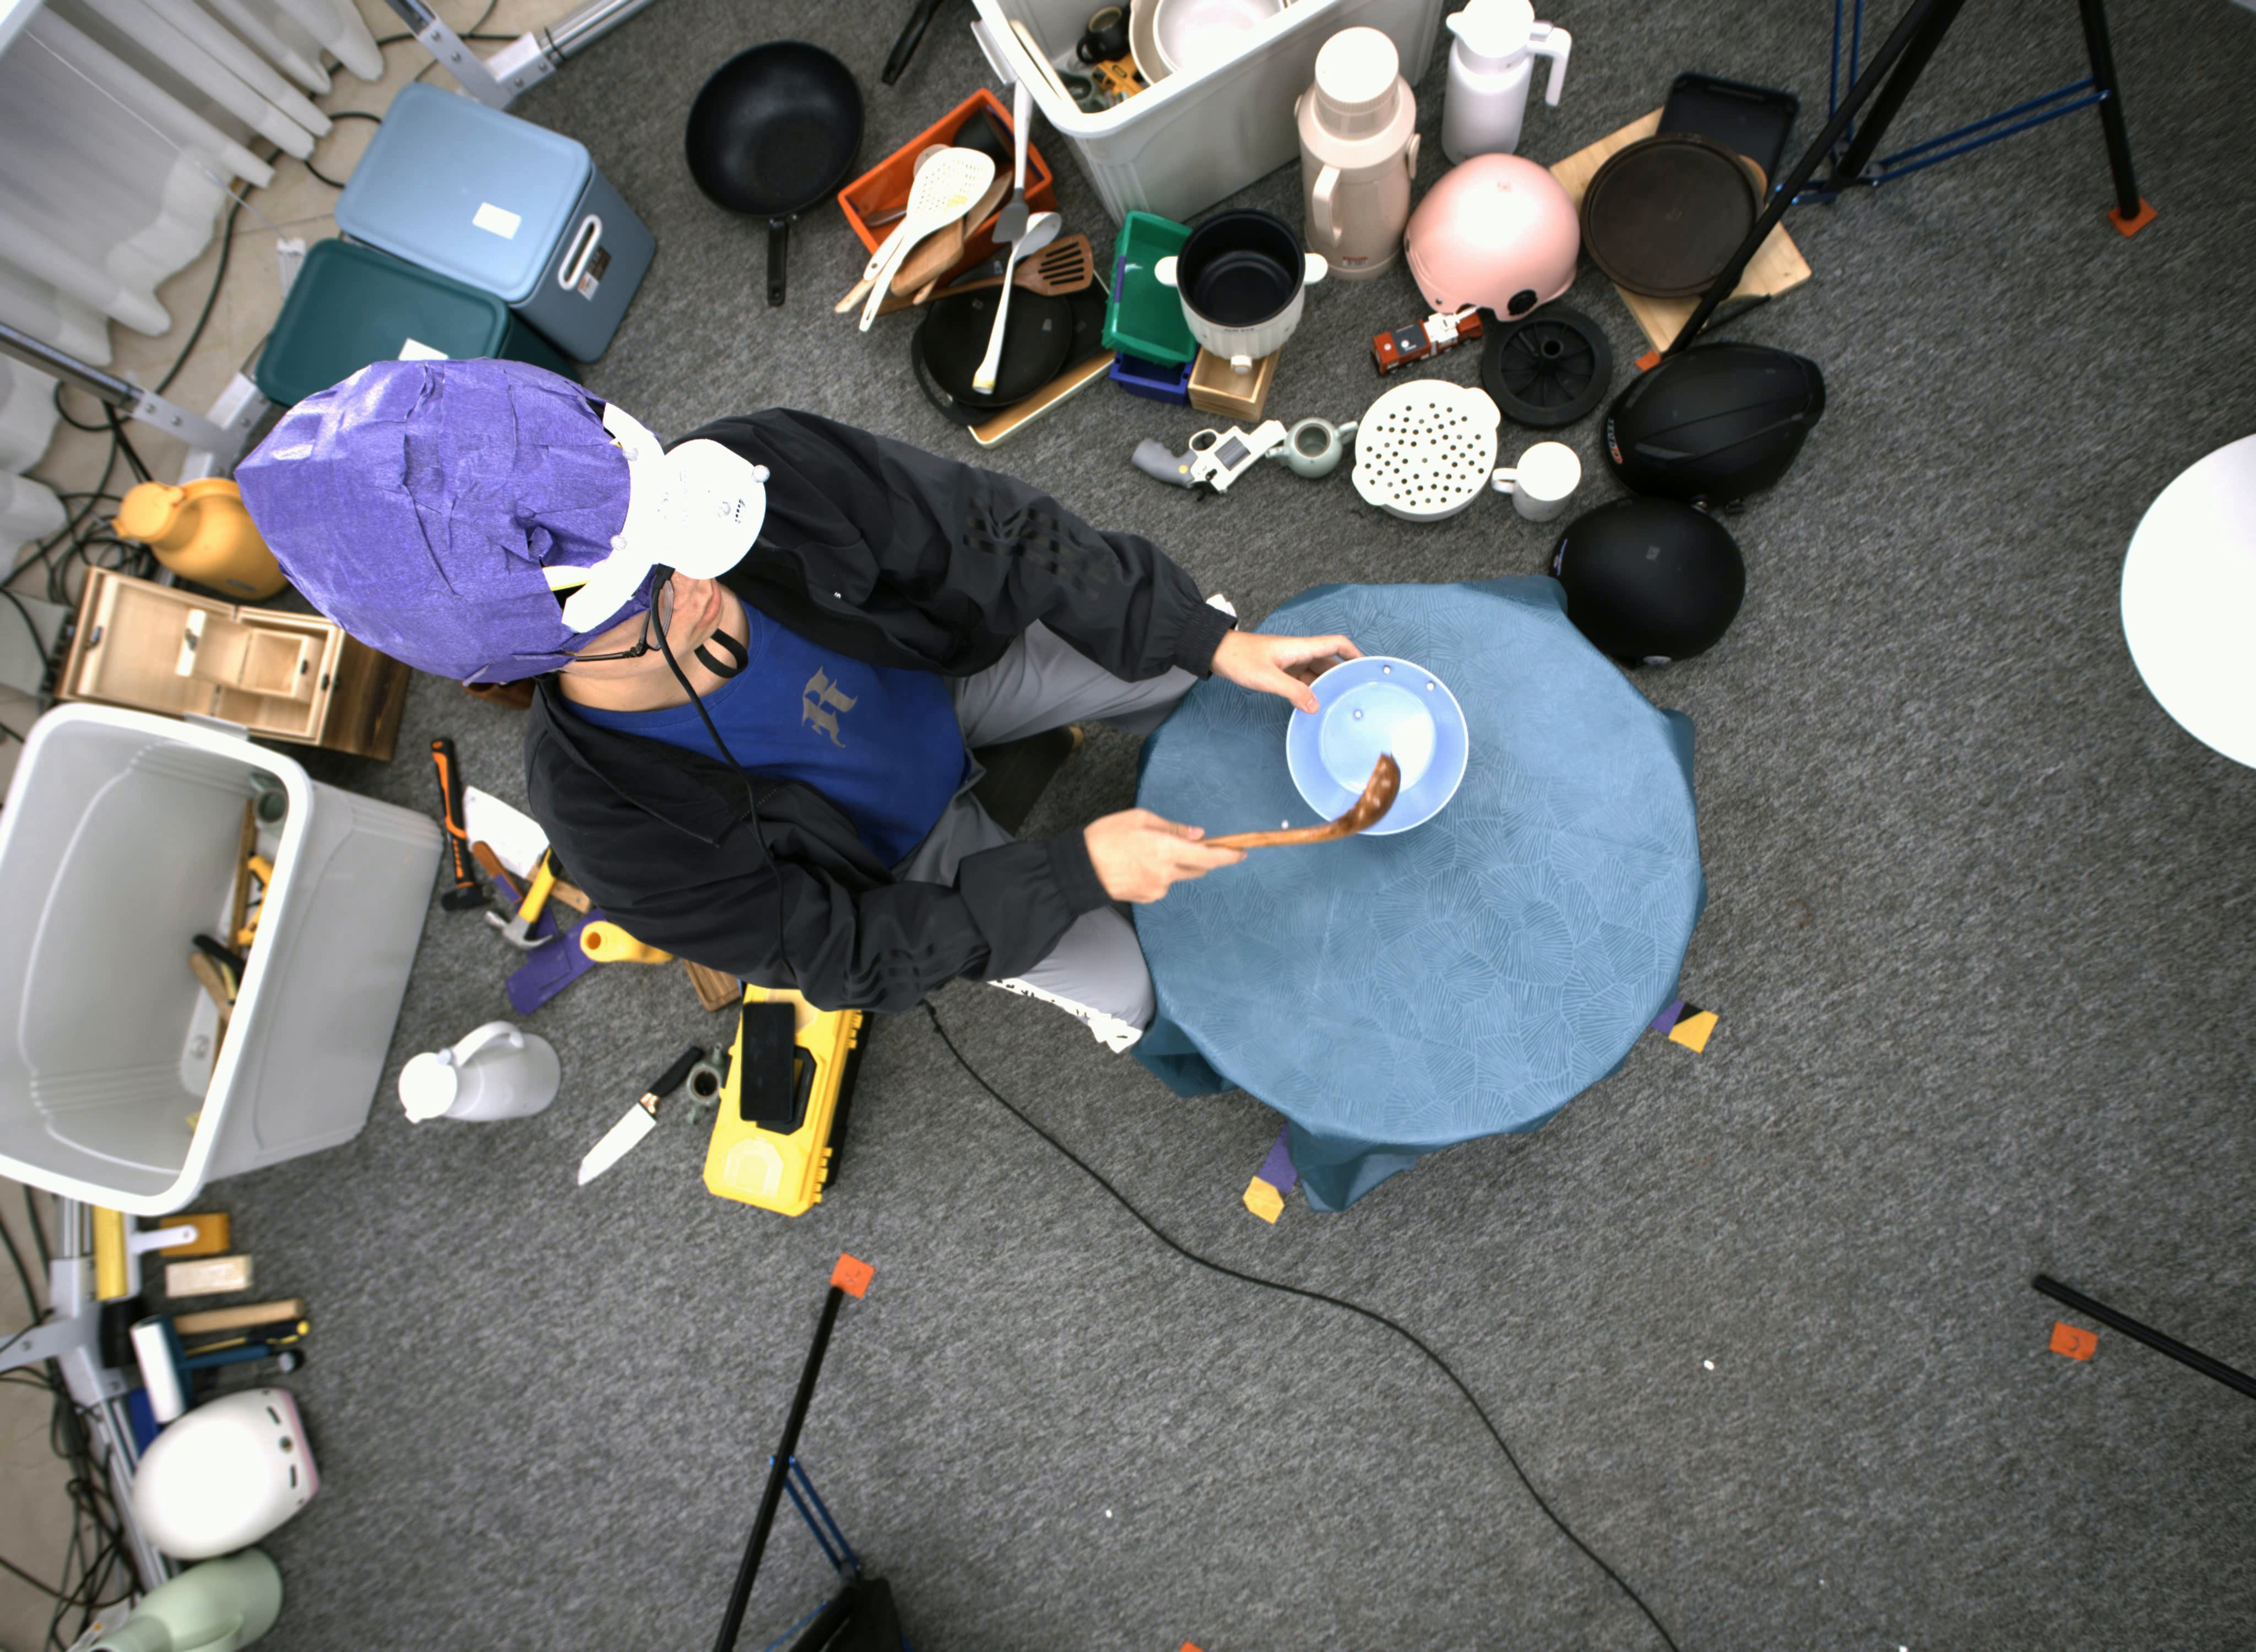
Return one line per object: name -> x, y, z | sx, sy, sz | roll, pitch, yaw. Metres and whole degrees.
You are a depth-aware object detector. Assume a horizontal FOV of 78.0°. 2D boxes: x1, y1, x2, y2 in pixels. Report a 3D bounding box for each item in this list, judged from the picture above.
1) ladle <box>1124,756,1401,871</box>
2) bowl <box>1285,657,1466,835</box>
ladle -> 0.122, -0.012, 1.303 | 0.276, 0.081, 0.076 | -8, 92, 17
bowl -> 0.247, -0.084, 1.373 | 0.177, 0.069, 0.178 | 2, 103, 11
